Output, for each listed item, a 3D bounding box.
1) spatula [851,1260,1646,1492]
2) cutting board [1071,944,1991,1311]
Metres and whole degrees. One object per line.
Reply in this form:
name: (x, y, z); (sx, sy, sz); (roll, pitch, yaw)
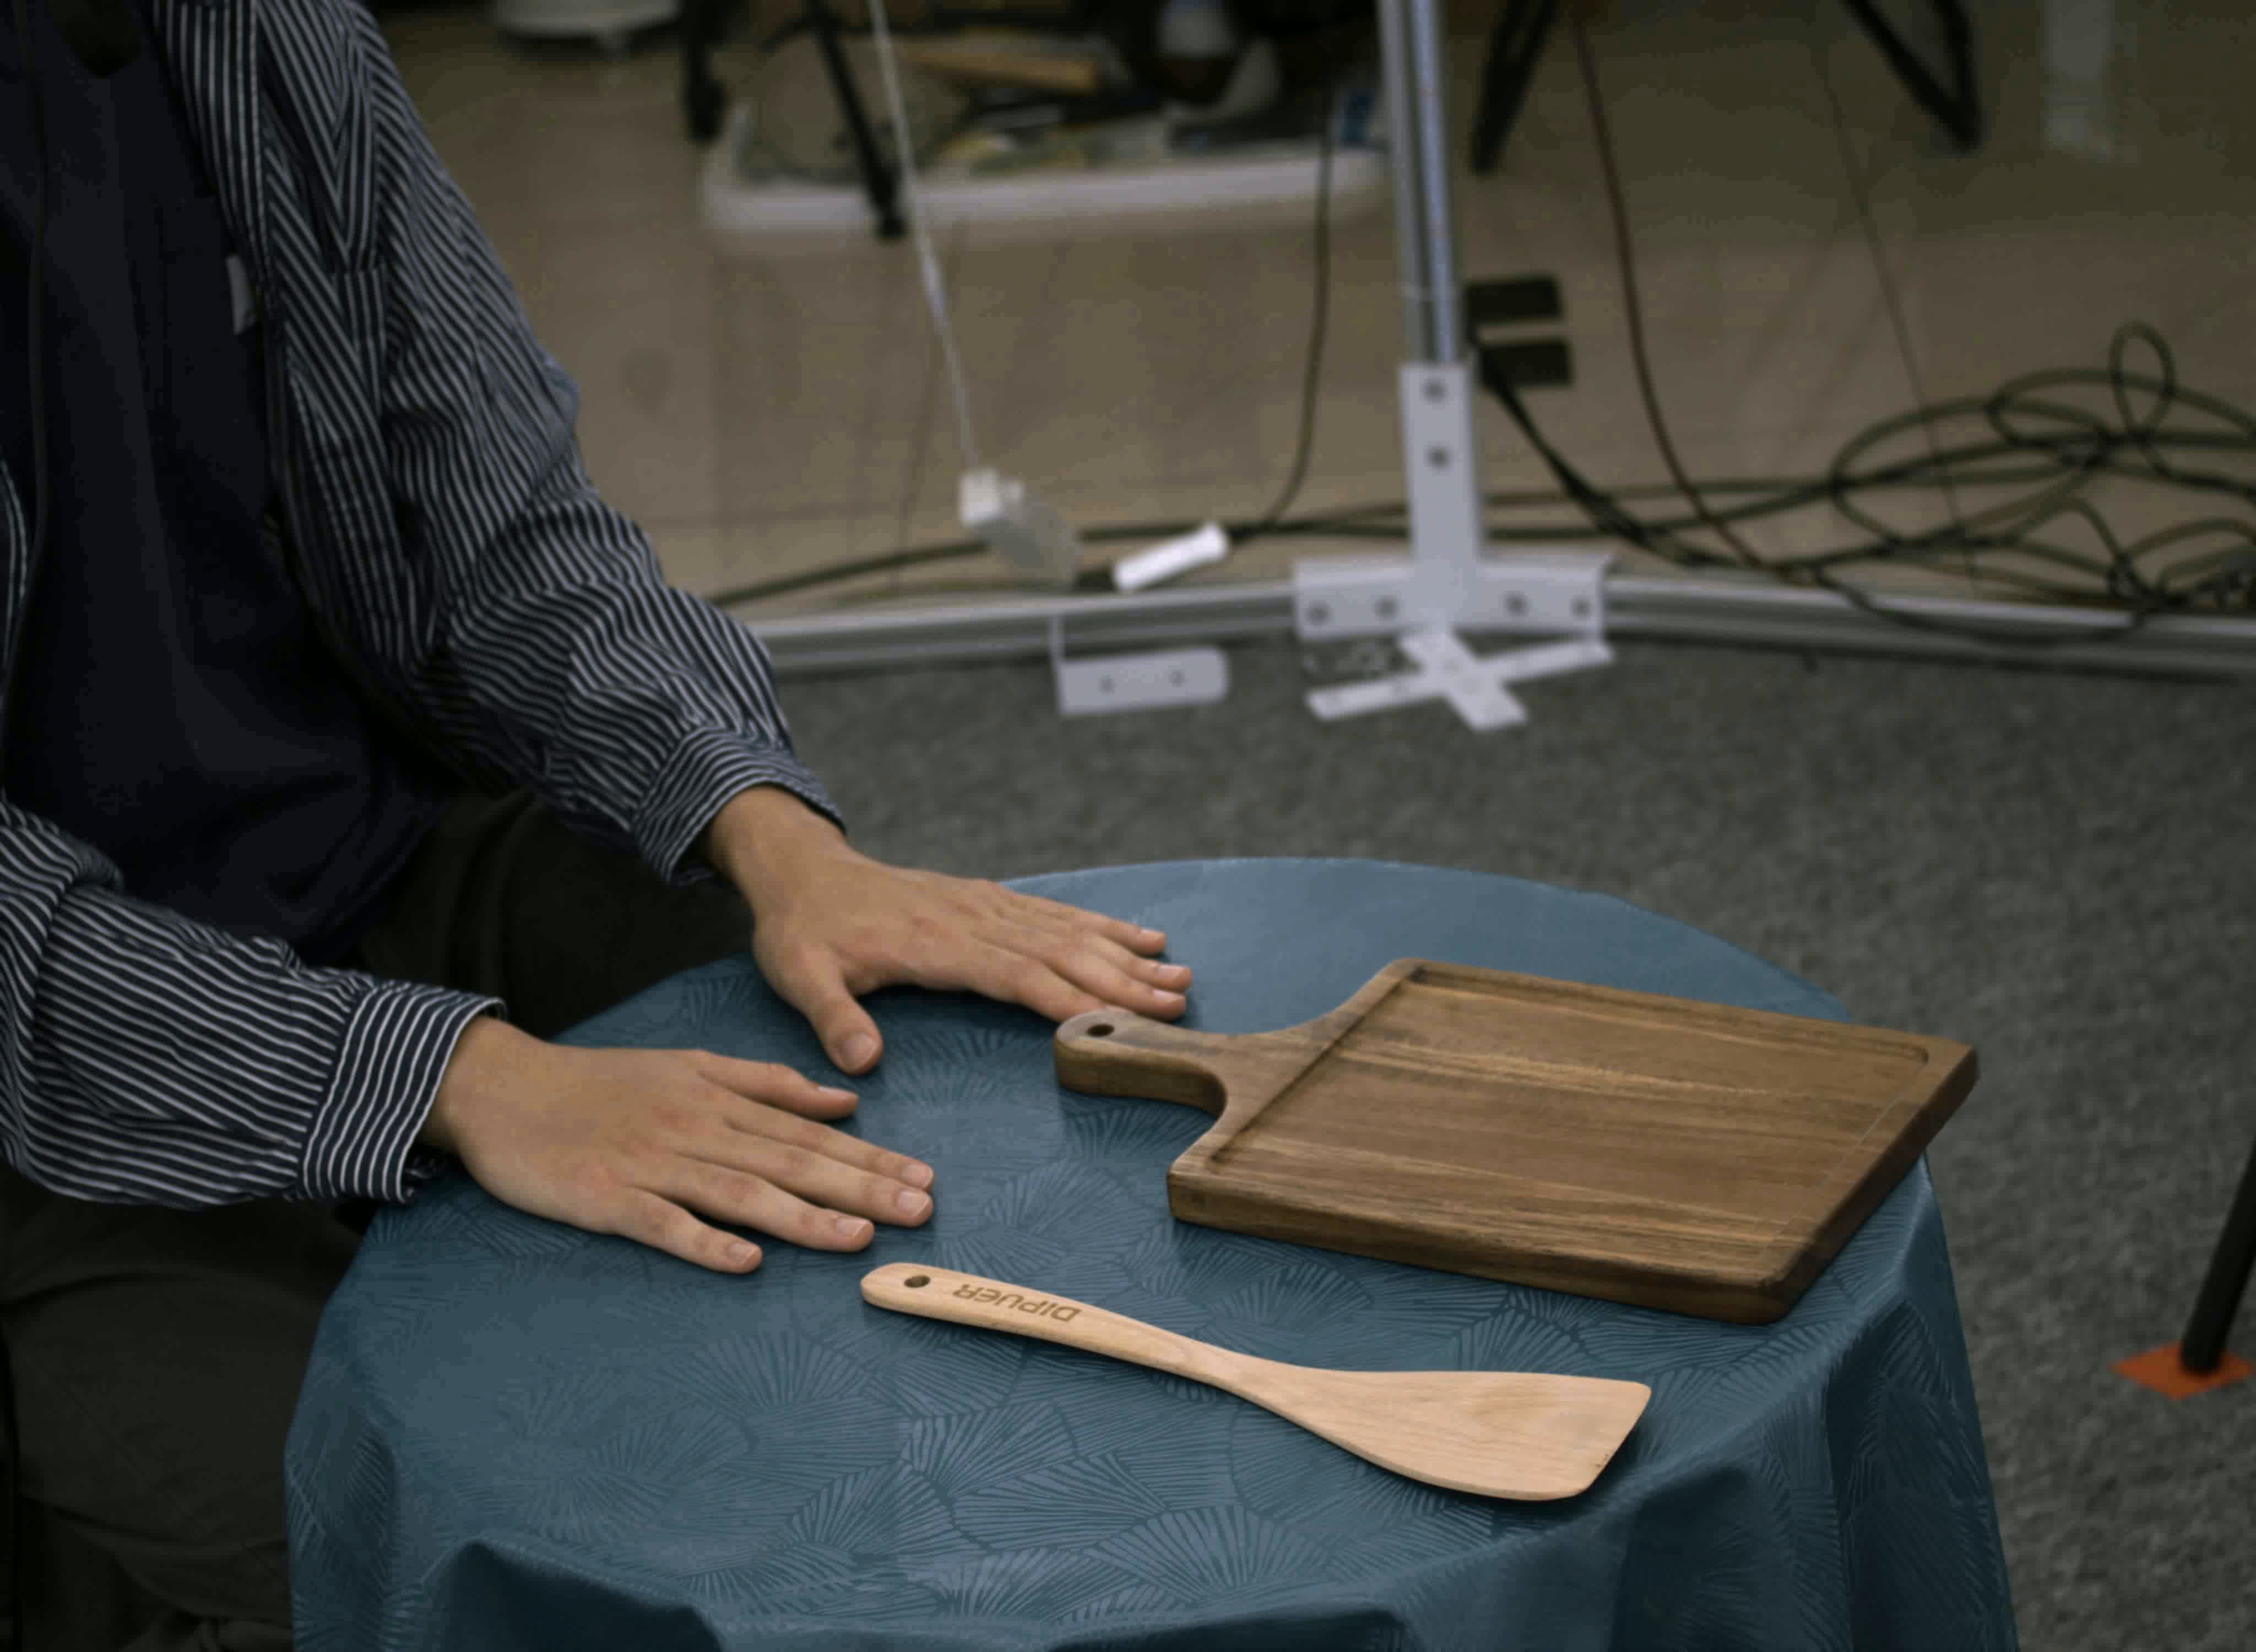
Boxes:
spatula: (0.036, 0.188, 2.020); (0.326, 0.017, 0.079); (11, 30, 32)
cutting board: (0.133, 0.103, 2.170); (0.350, 0.023, 0.198); (9, 29, 30)
